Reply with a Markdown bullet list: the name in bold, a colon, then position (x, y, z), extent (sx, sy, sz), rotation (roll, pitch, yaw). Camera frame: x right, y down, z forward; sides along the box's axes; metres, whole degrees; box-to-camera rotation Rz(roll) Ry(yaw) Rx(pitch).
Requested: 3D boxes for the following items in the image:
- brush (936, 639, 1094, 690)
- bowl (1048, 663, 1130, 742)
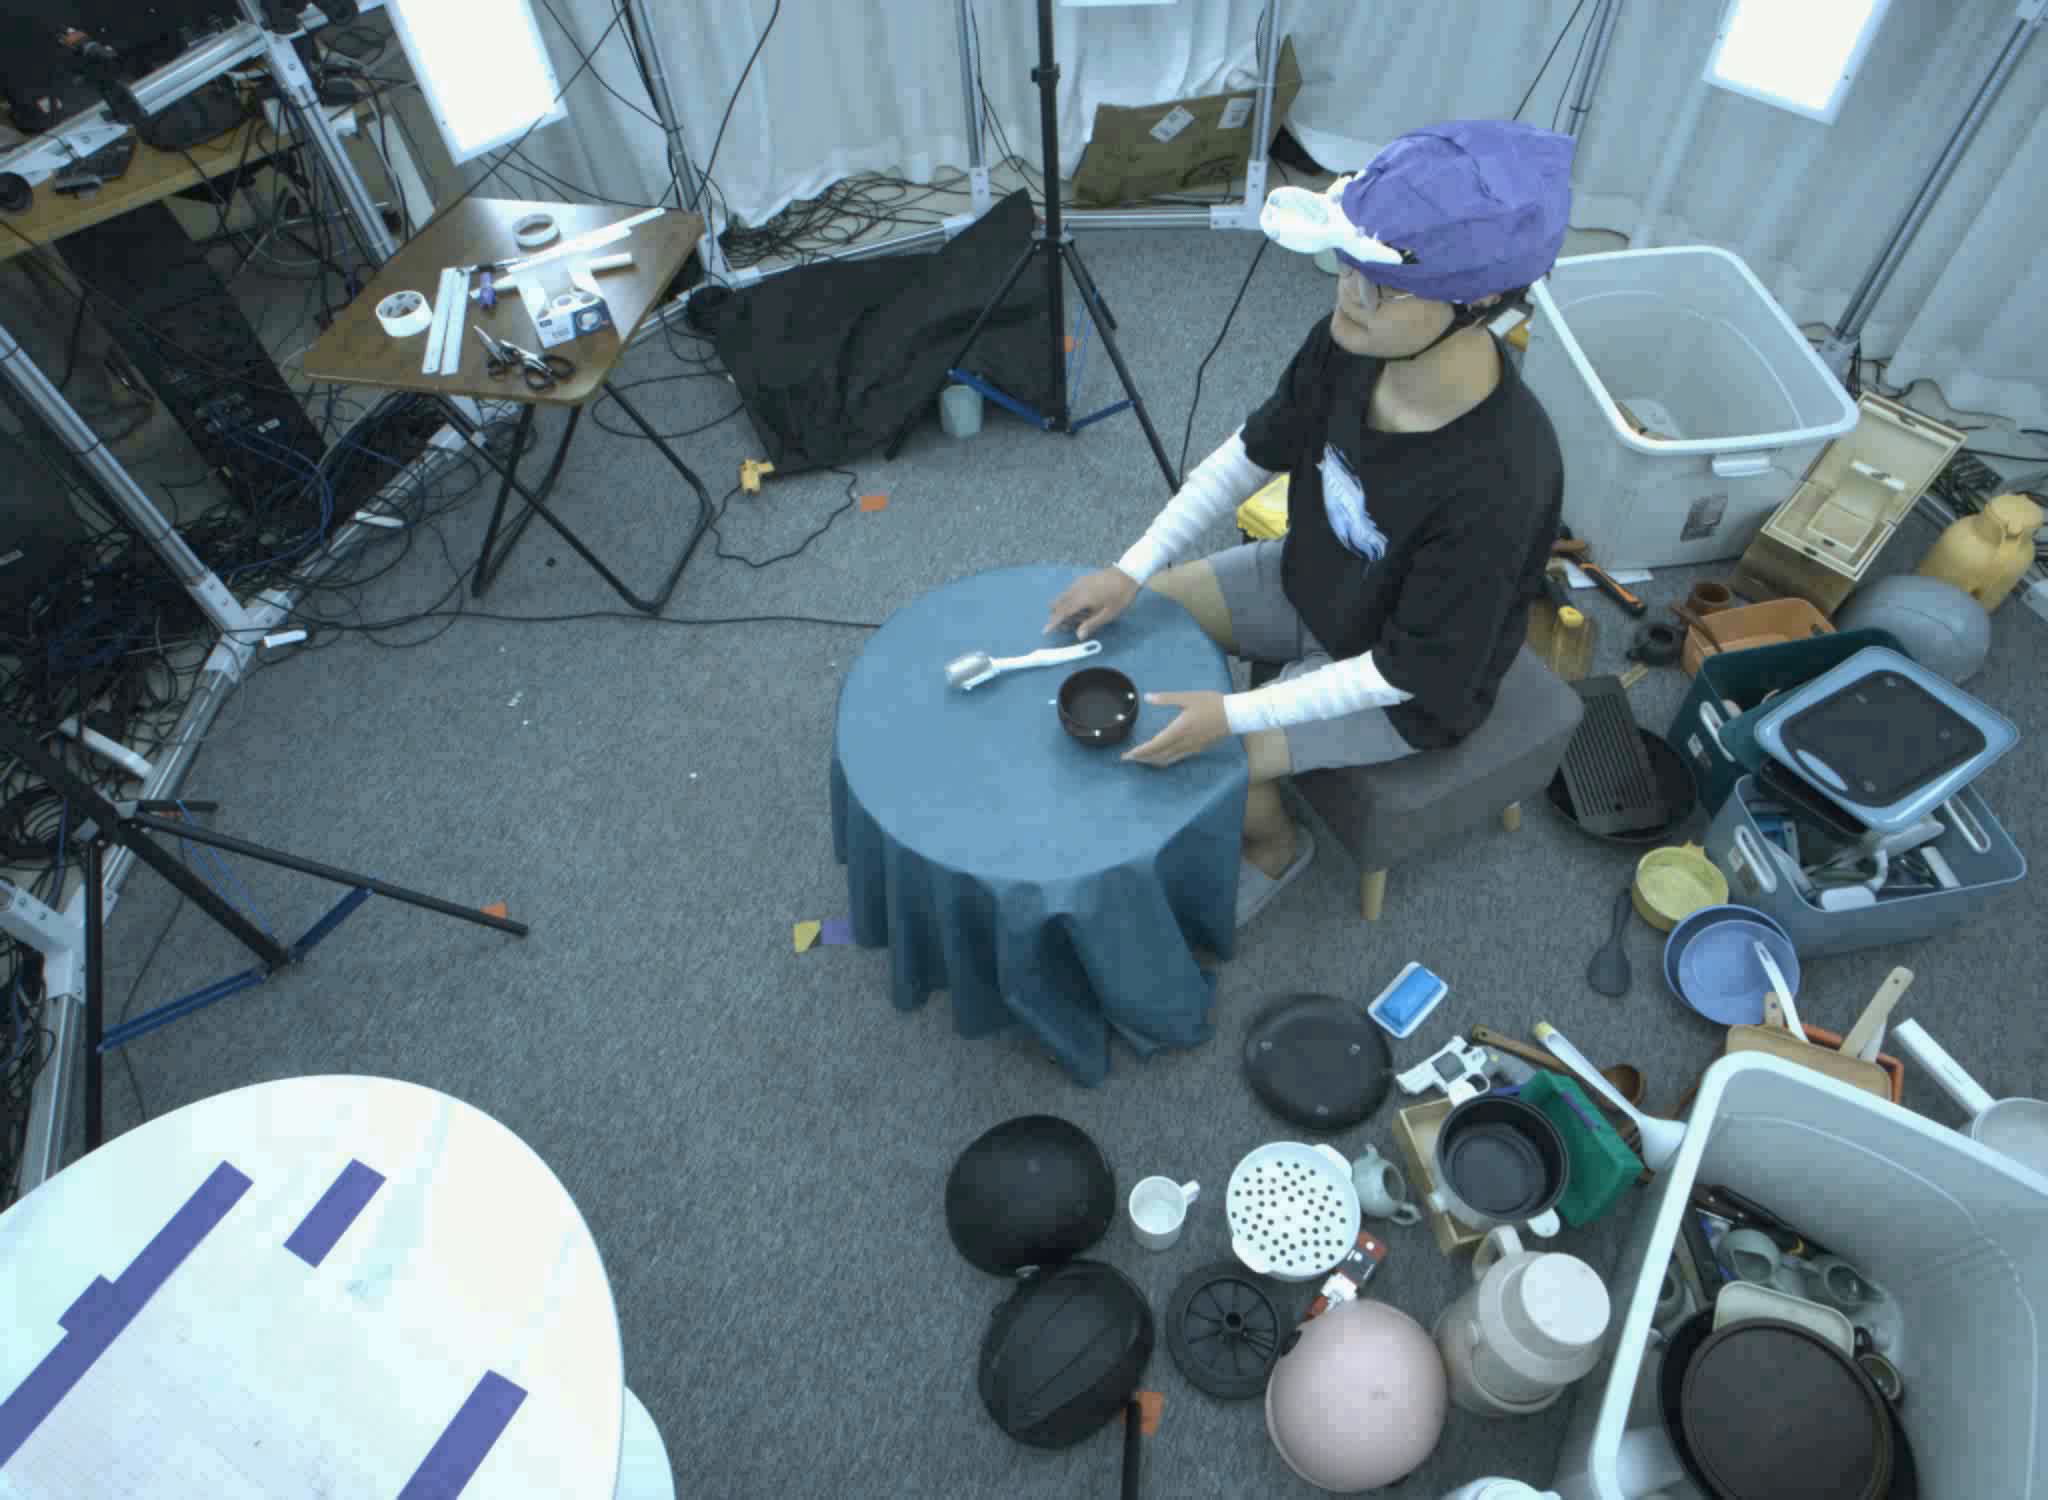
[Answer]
- **brush**: position (-0.012, -0.142, 1.850), extent (0.245, 0.051, 0.034), rotation (-15, 56, -7)
- **bowl**: position (0.093, -0.060, 1.773), extent (0.118, 0.070, 0.117), rotation (0, 53, 1)
